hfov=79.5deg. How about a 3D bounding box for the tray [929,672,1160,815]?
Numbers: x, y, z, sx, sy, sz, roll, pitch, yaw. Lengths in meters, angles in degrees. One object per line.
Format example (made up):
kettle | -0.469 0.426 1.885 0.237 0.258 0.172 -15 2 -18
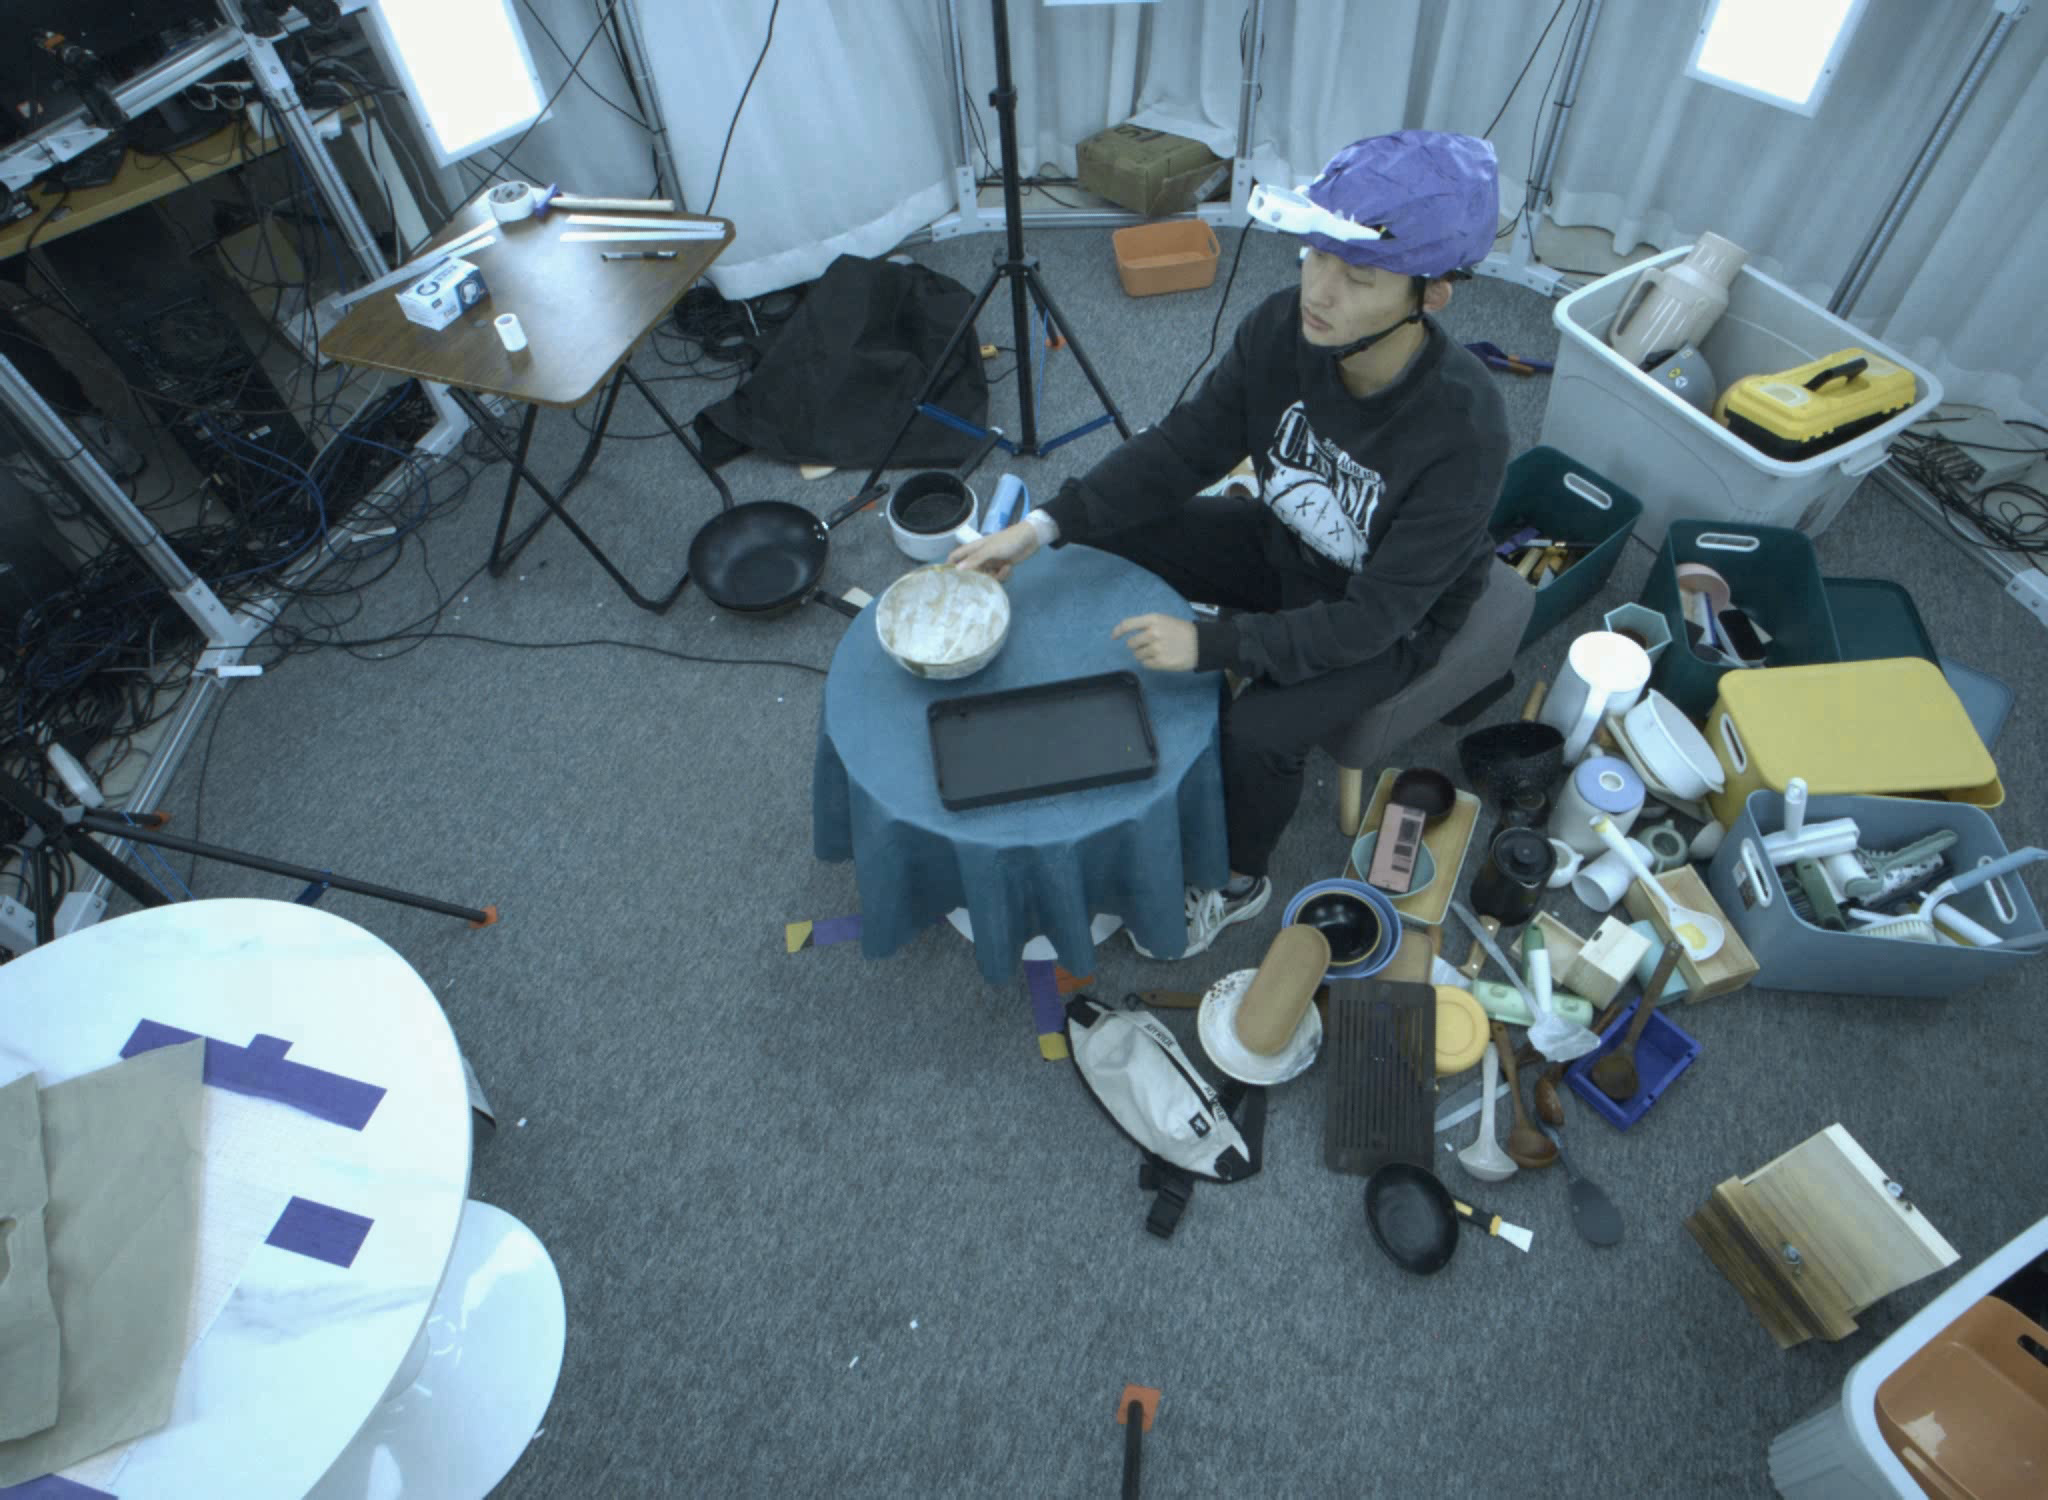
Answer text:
tray | 0.027 -0.011 1.785 0.319 0.037 0.182 -9 56 -3

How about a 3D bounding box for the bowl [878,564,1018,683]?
bowl | -0.112 -0.175 1.866 0.214 0.095 0.212 0 56 2
